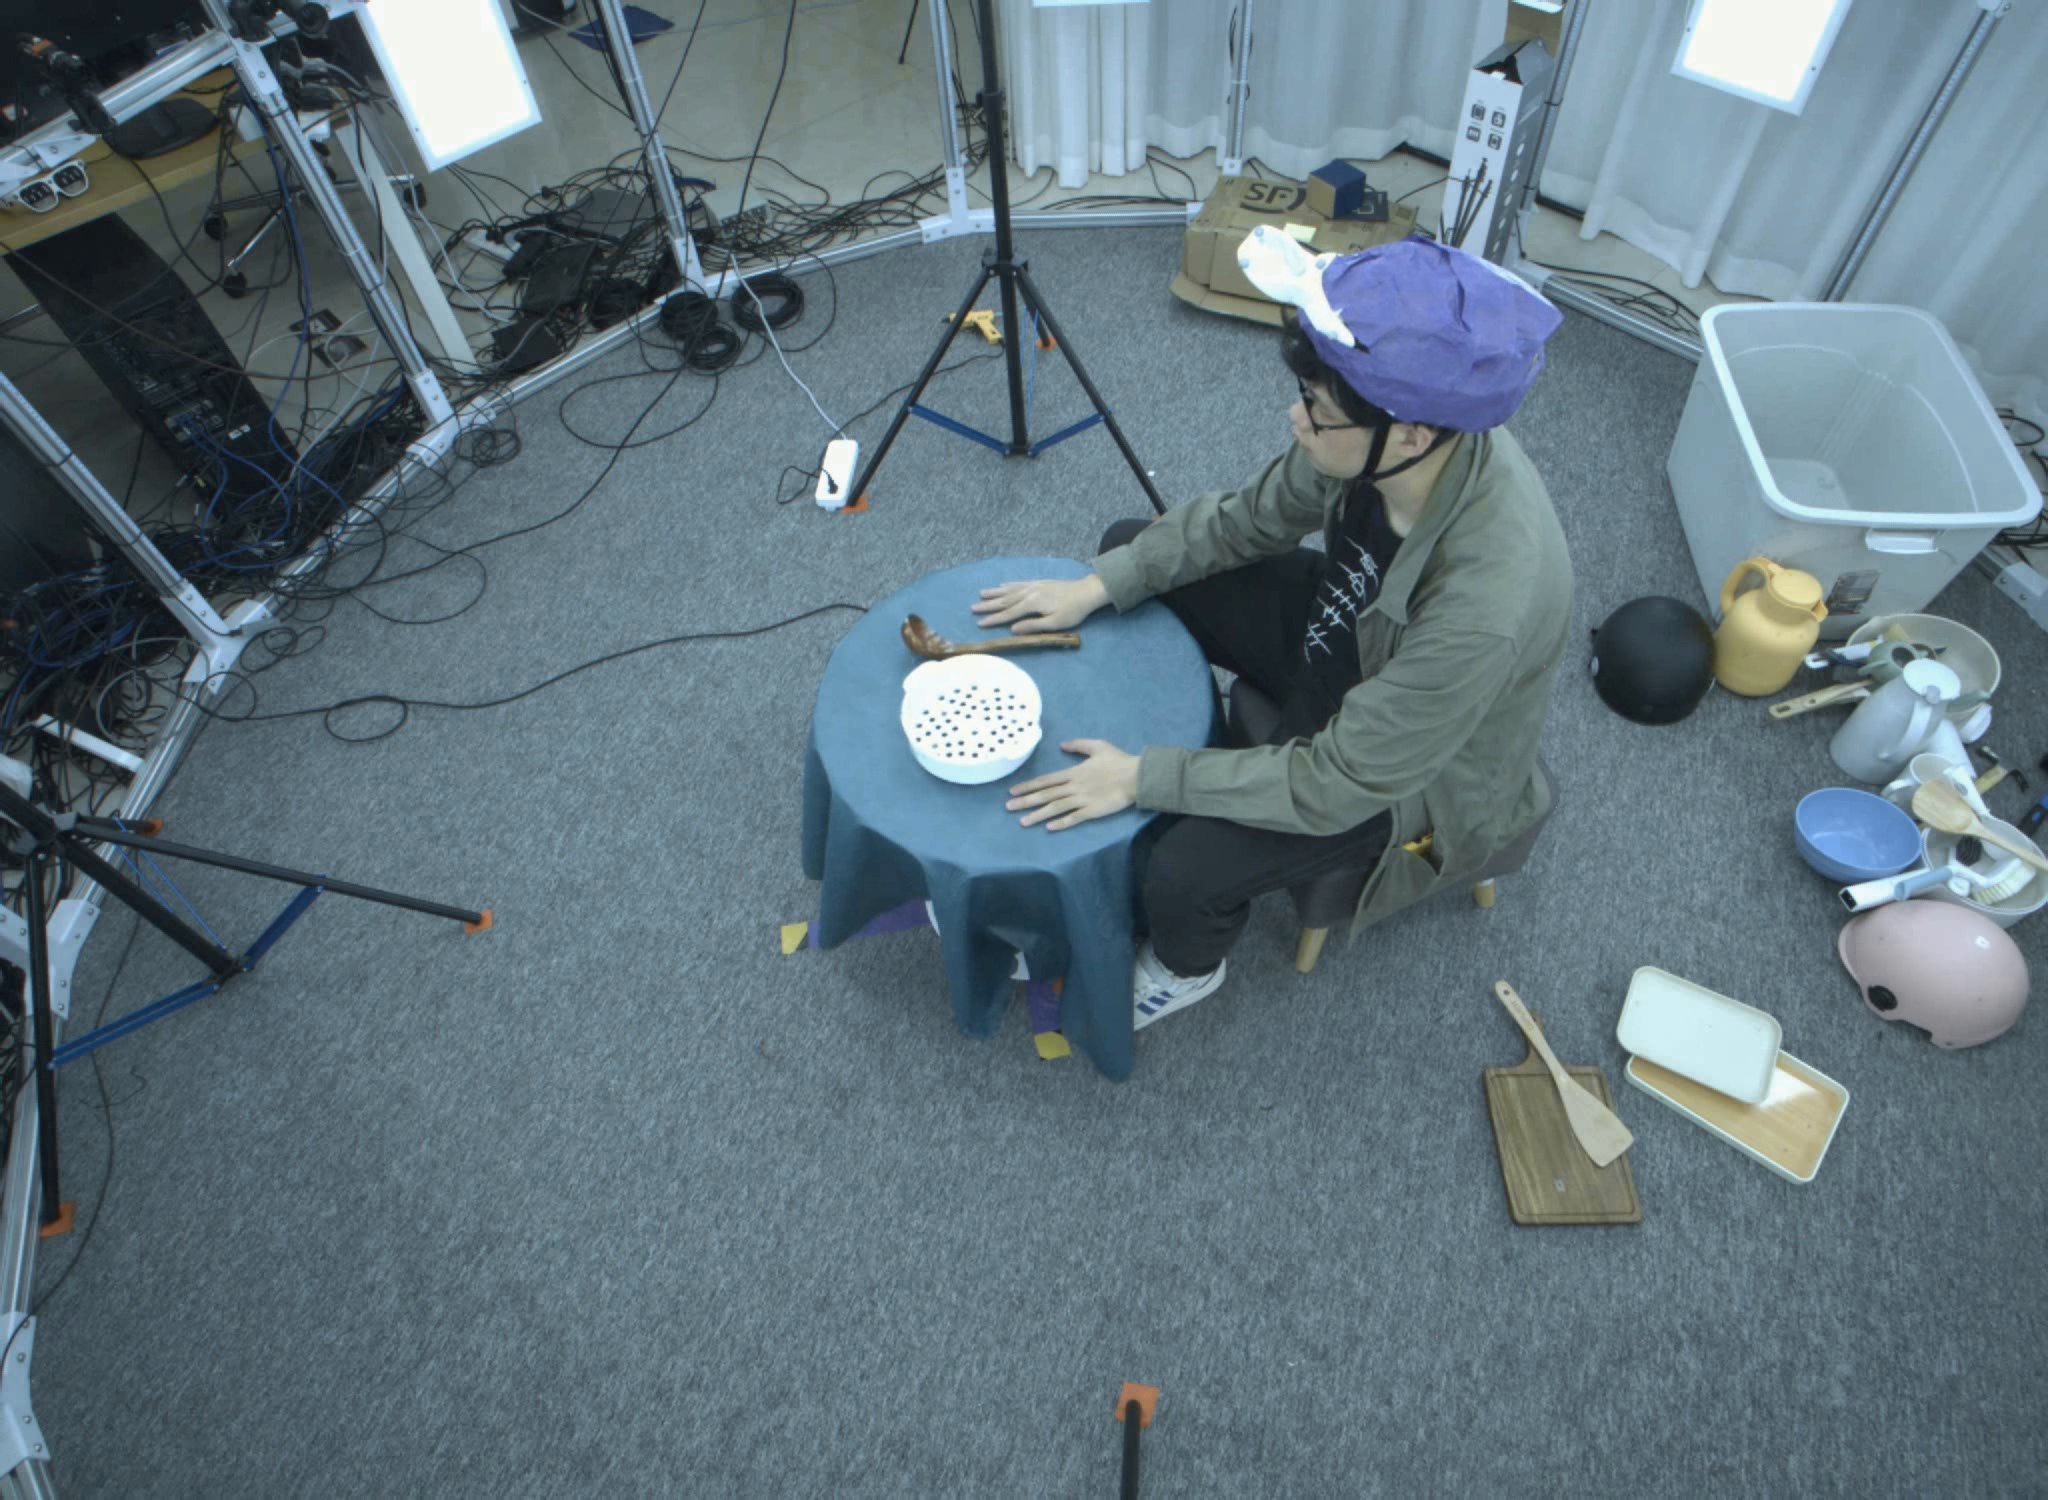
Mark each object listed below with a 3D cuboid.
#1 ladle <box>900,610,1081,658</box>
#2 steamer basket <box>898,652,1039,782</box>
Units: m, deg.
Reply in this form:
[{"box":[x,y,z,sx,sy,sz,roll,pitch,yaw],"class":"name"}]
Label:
[{"box":[-0.052,-0.184,1.879,0.274,0.077,0.081,-4,40,-2],"class":"ladle"},{"box":[-0.079,-0.046,1.786,0.227,0.070,0.203,34,63,22],"class":"steamer basket"}]
